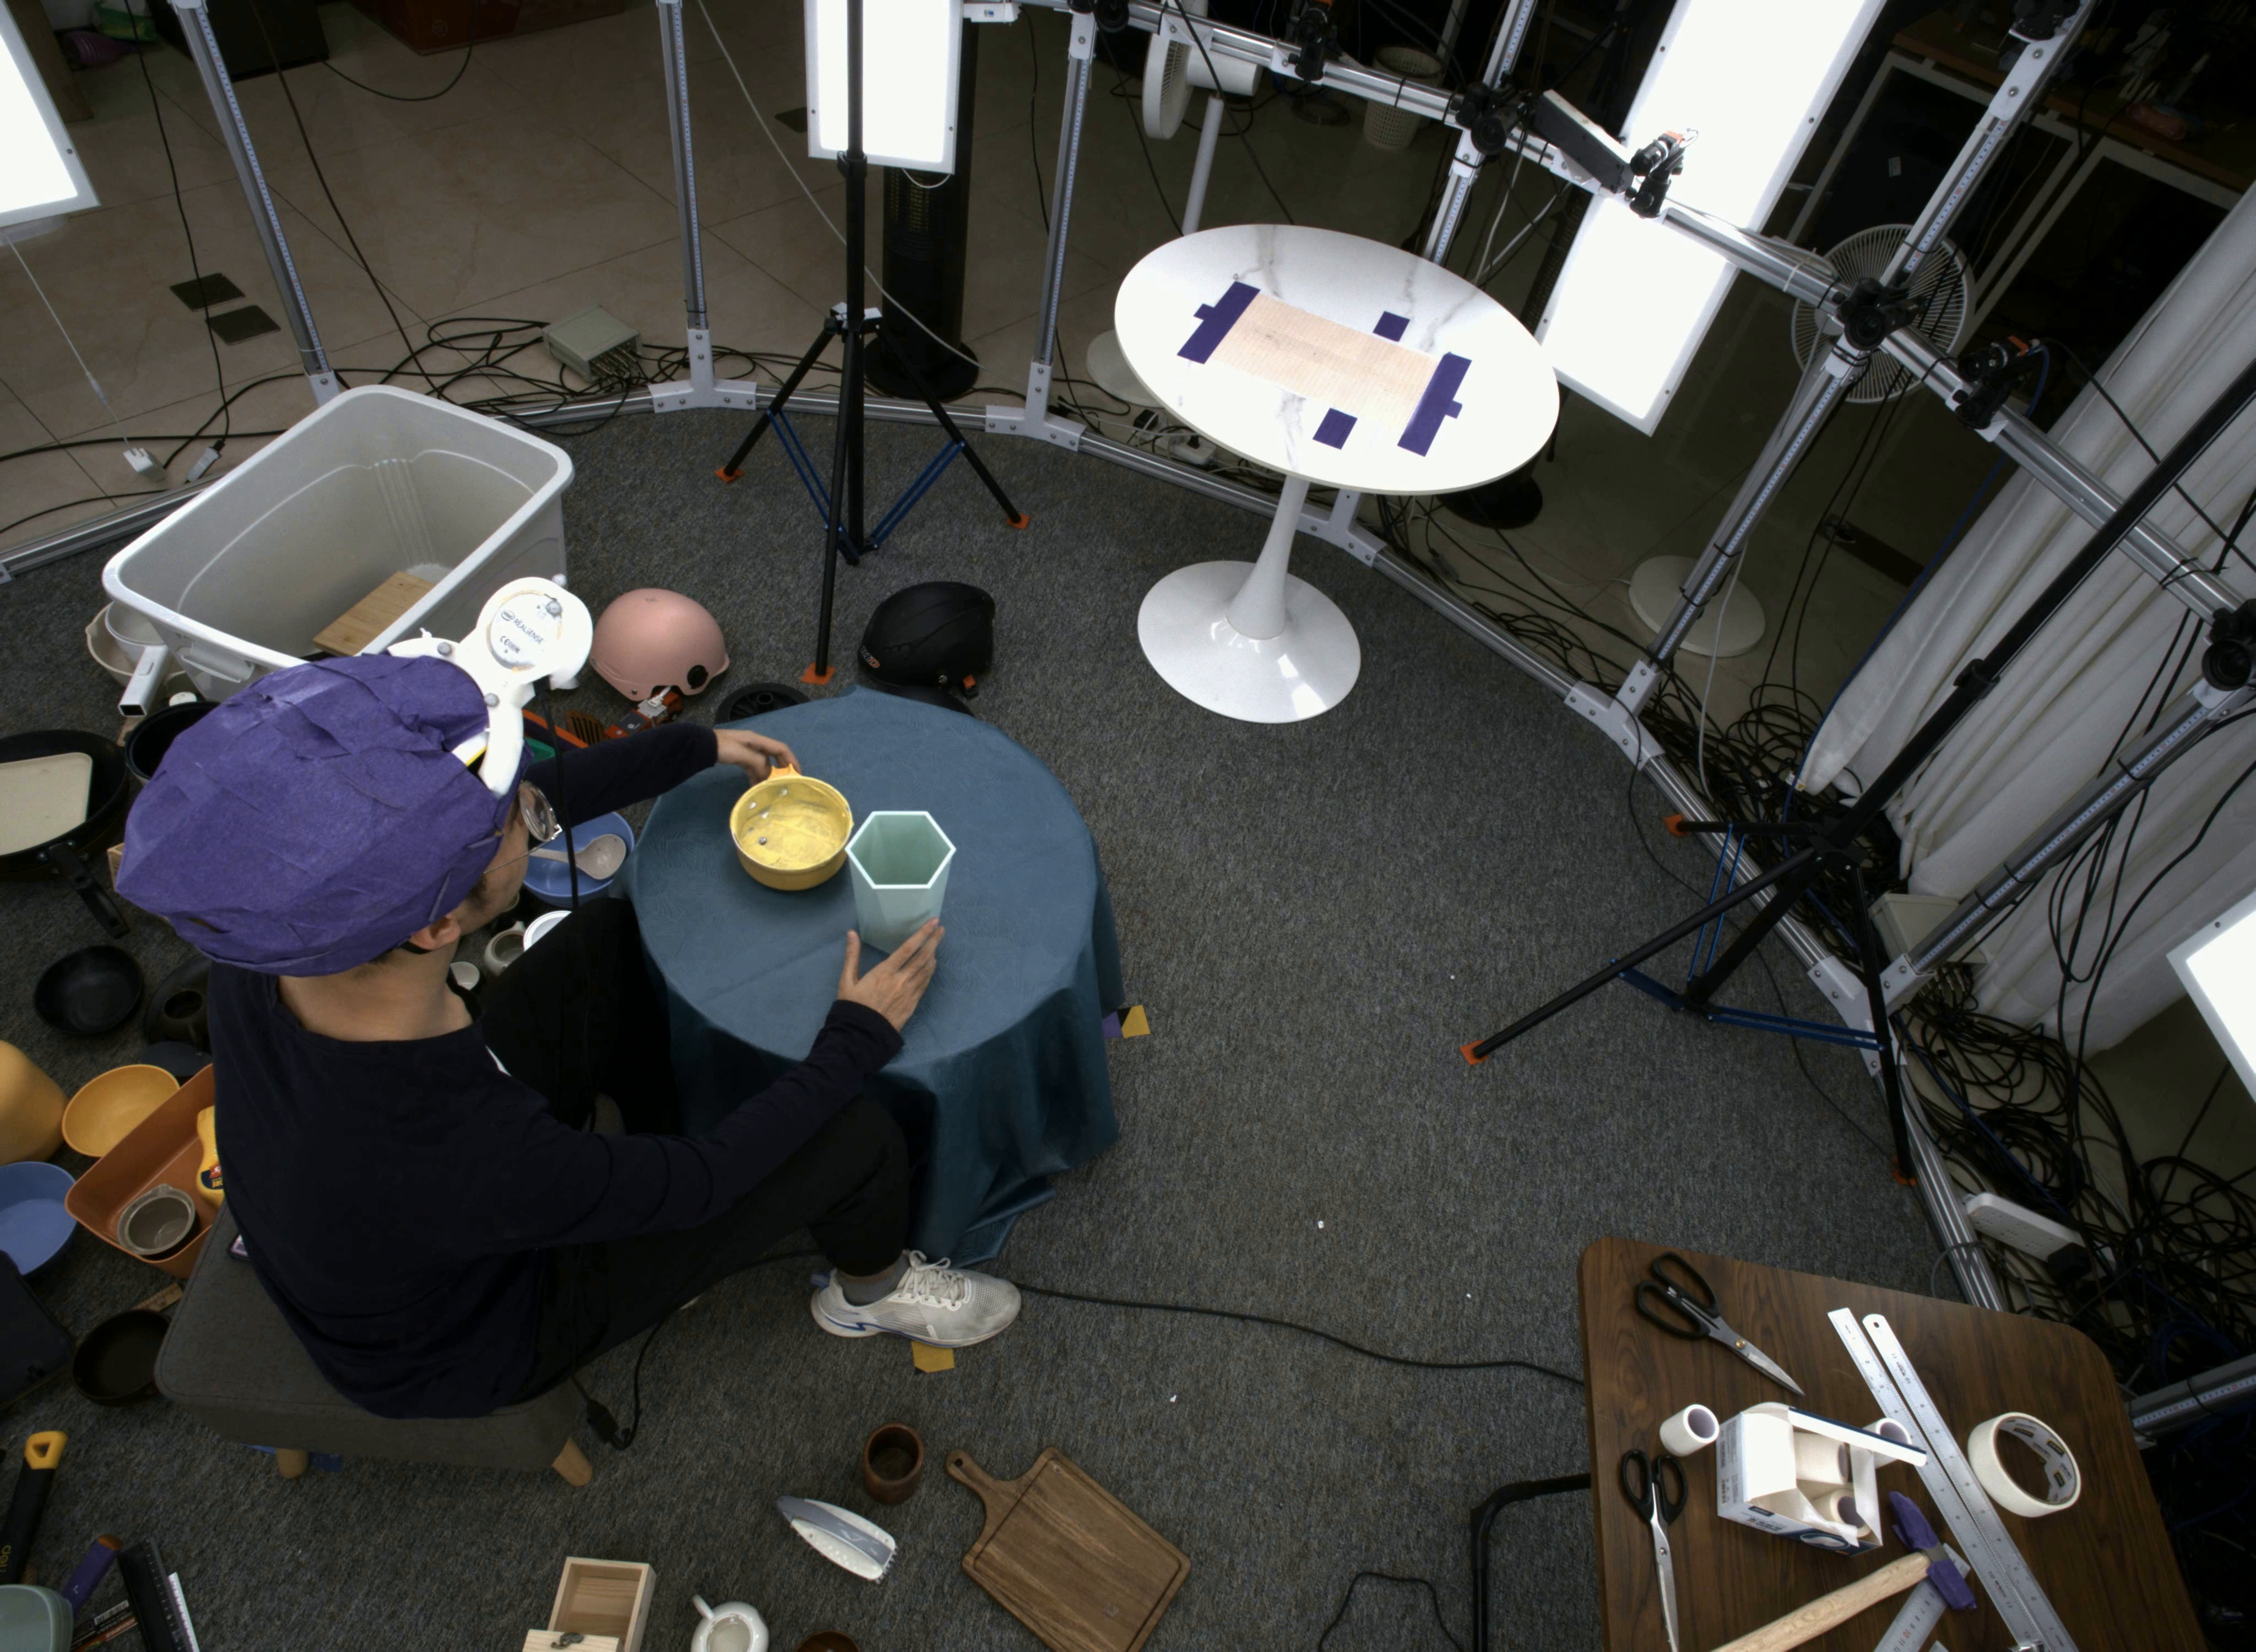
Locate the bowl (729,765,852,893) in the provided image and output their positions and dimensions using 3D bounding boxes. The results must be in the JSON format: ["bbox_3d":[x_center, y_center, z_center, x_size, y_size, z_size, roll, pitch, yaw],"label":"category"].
[{"bbox_3d":[-0.436,0.004,1.677,0.153,0.076,0.175,-12,58,-19],"label":"bowl"}]

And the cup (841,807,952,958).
[{"bbox_3d":[-0.283,0.072,1.601,0.115,0.167,0.127,-30,63,-28],"label":"cup"}]
